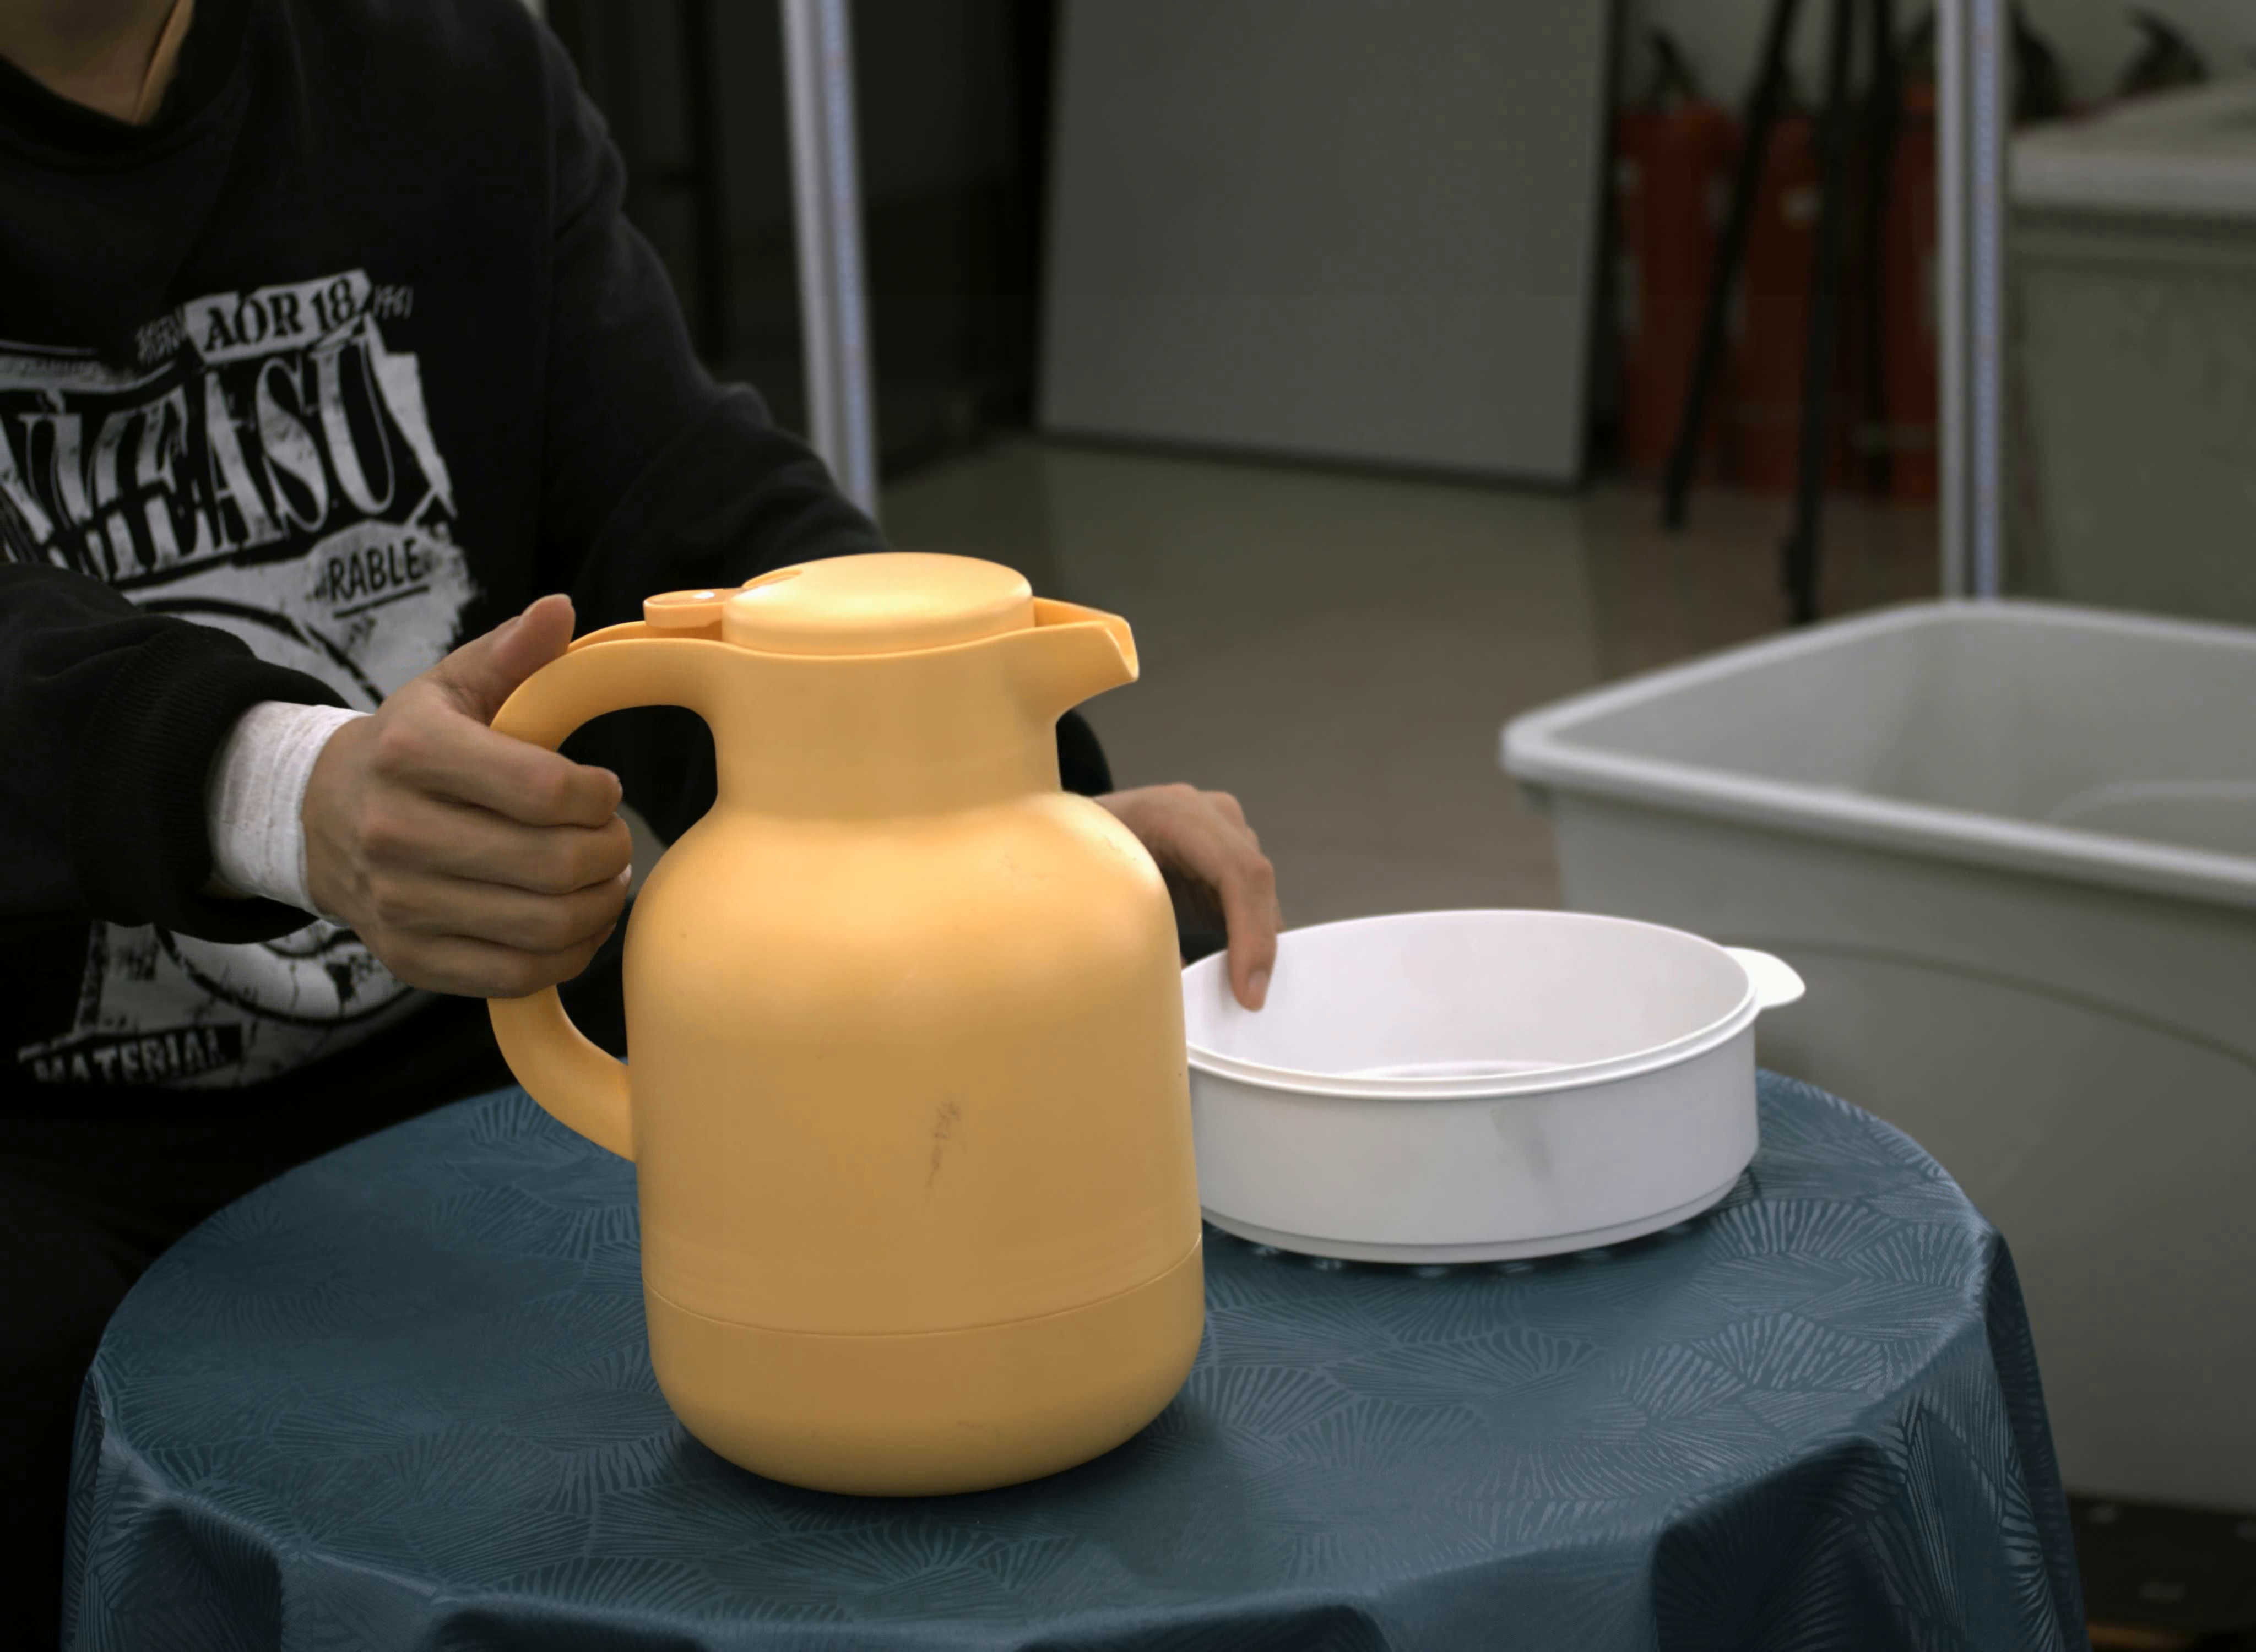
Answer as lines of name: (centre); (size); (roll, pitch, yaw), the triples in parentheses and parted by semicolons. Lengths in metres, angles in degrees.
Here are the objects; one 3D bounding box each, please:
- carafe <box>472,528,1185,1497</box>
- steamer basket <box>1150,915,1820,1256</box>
carafe: (-0.085, 0.048, 1.543); (0.201, 0.263, 0.162); (1, 12, 12)
steamer basket: (0.111, 0.084, 1.748); (0.227, 0.070, 0.203); (-4, 13, -7)
